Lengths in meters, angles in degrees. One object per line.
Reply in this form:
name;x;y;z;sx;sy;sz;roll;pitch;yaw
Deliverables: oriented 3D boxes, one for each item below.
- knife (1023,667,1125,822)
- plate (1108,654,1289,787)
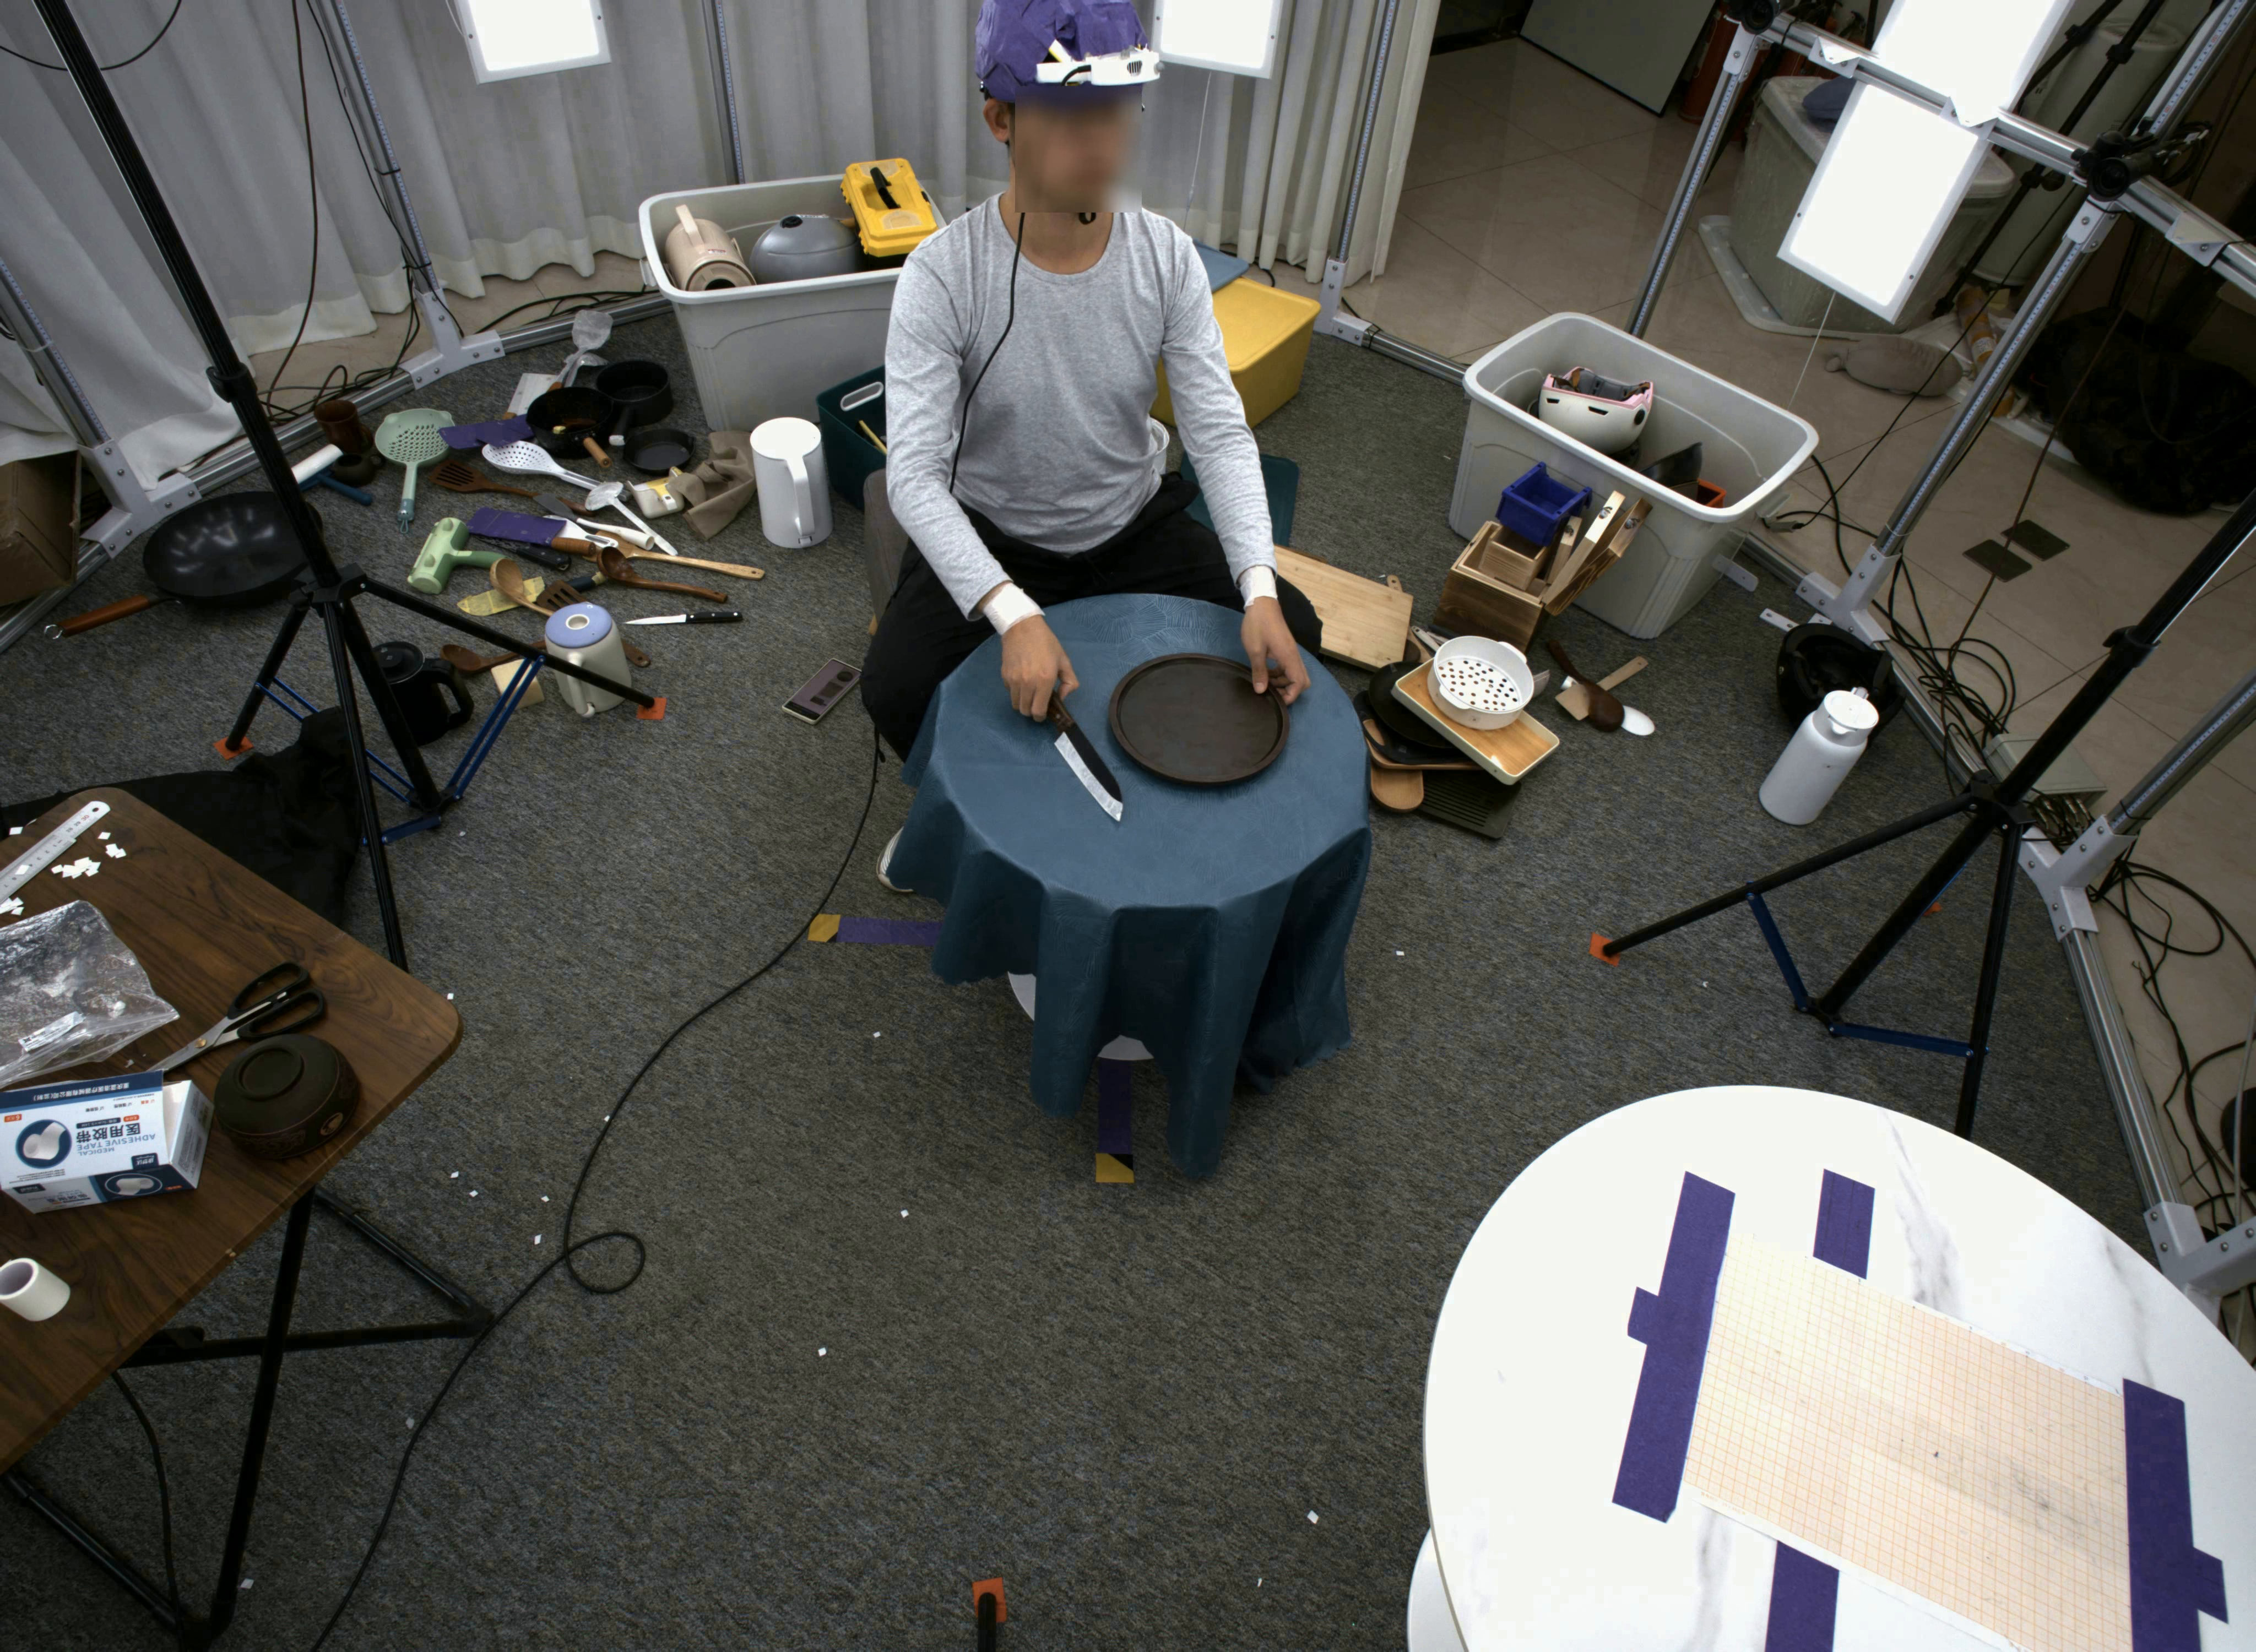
knife;-0.074;-0.114;1.739;0.050;0.020;0.295;-43;56;17
plate;0.098;-0.149;1.788;0.254;0.028;0.261;1;49;-1
